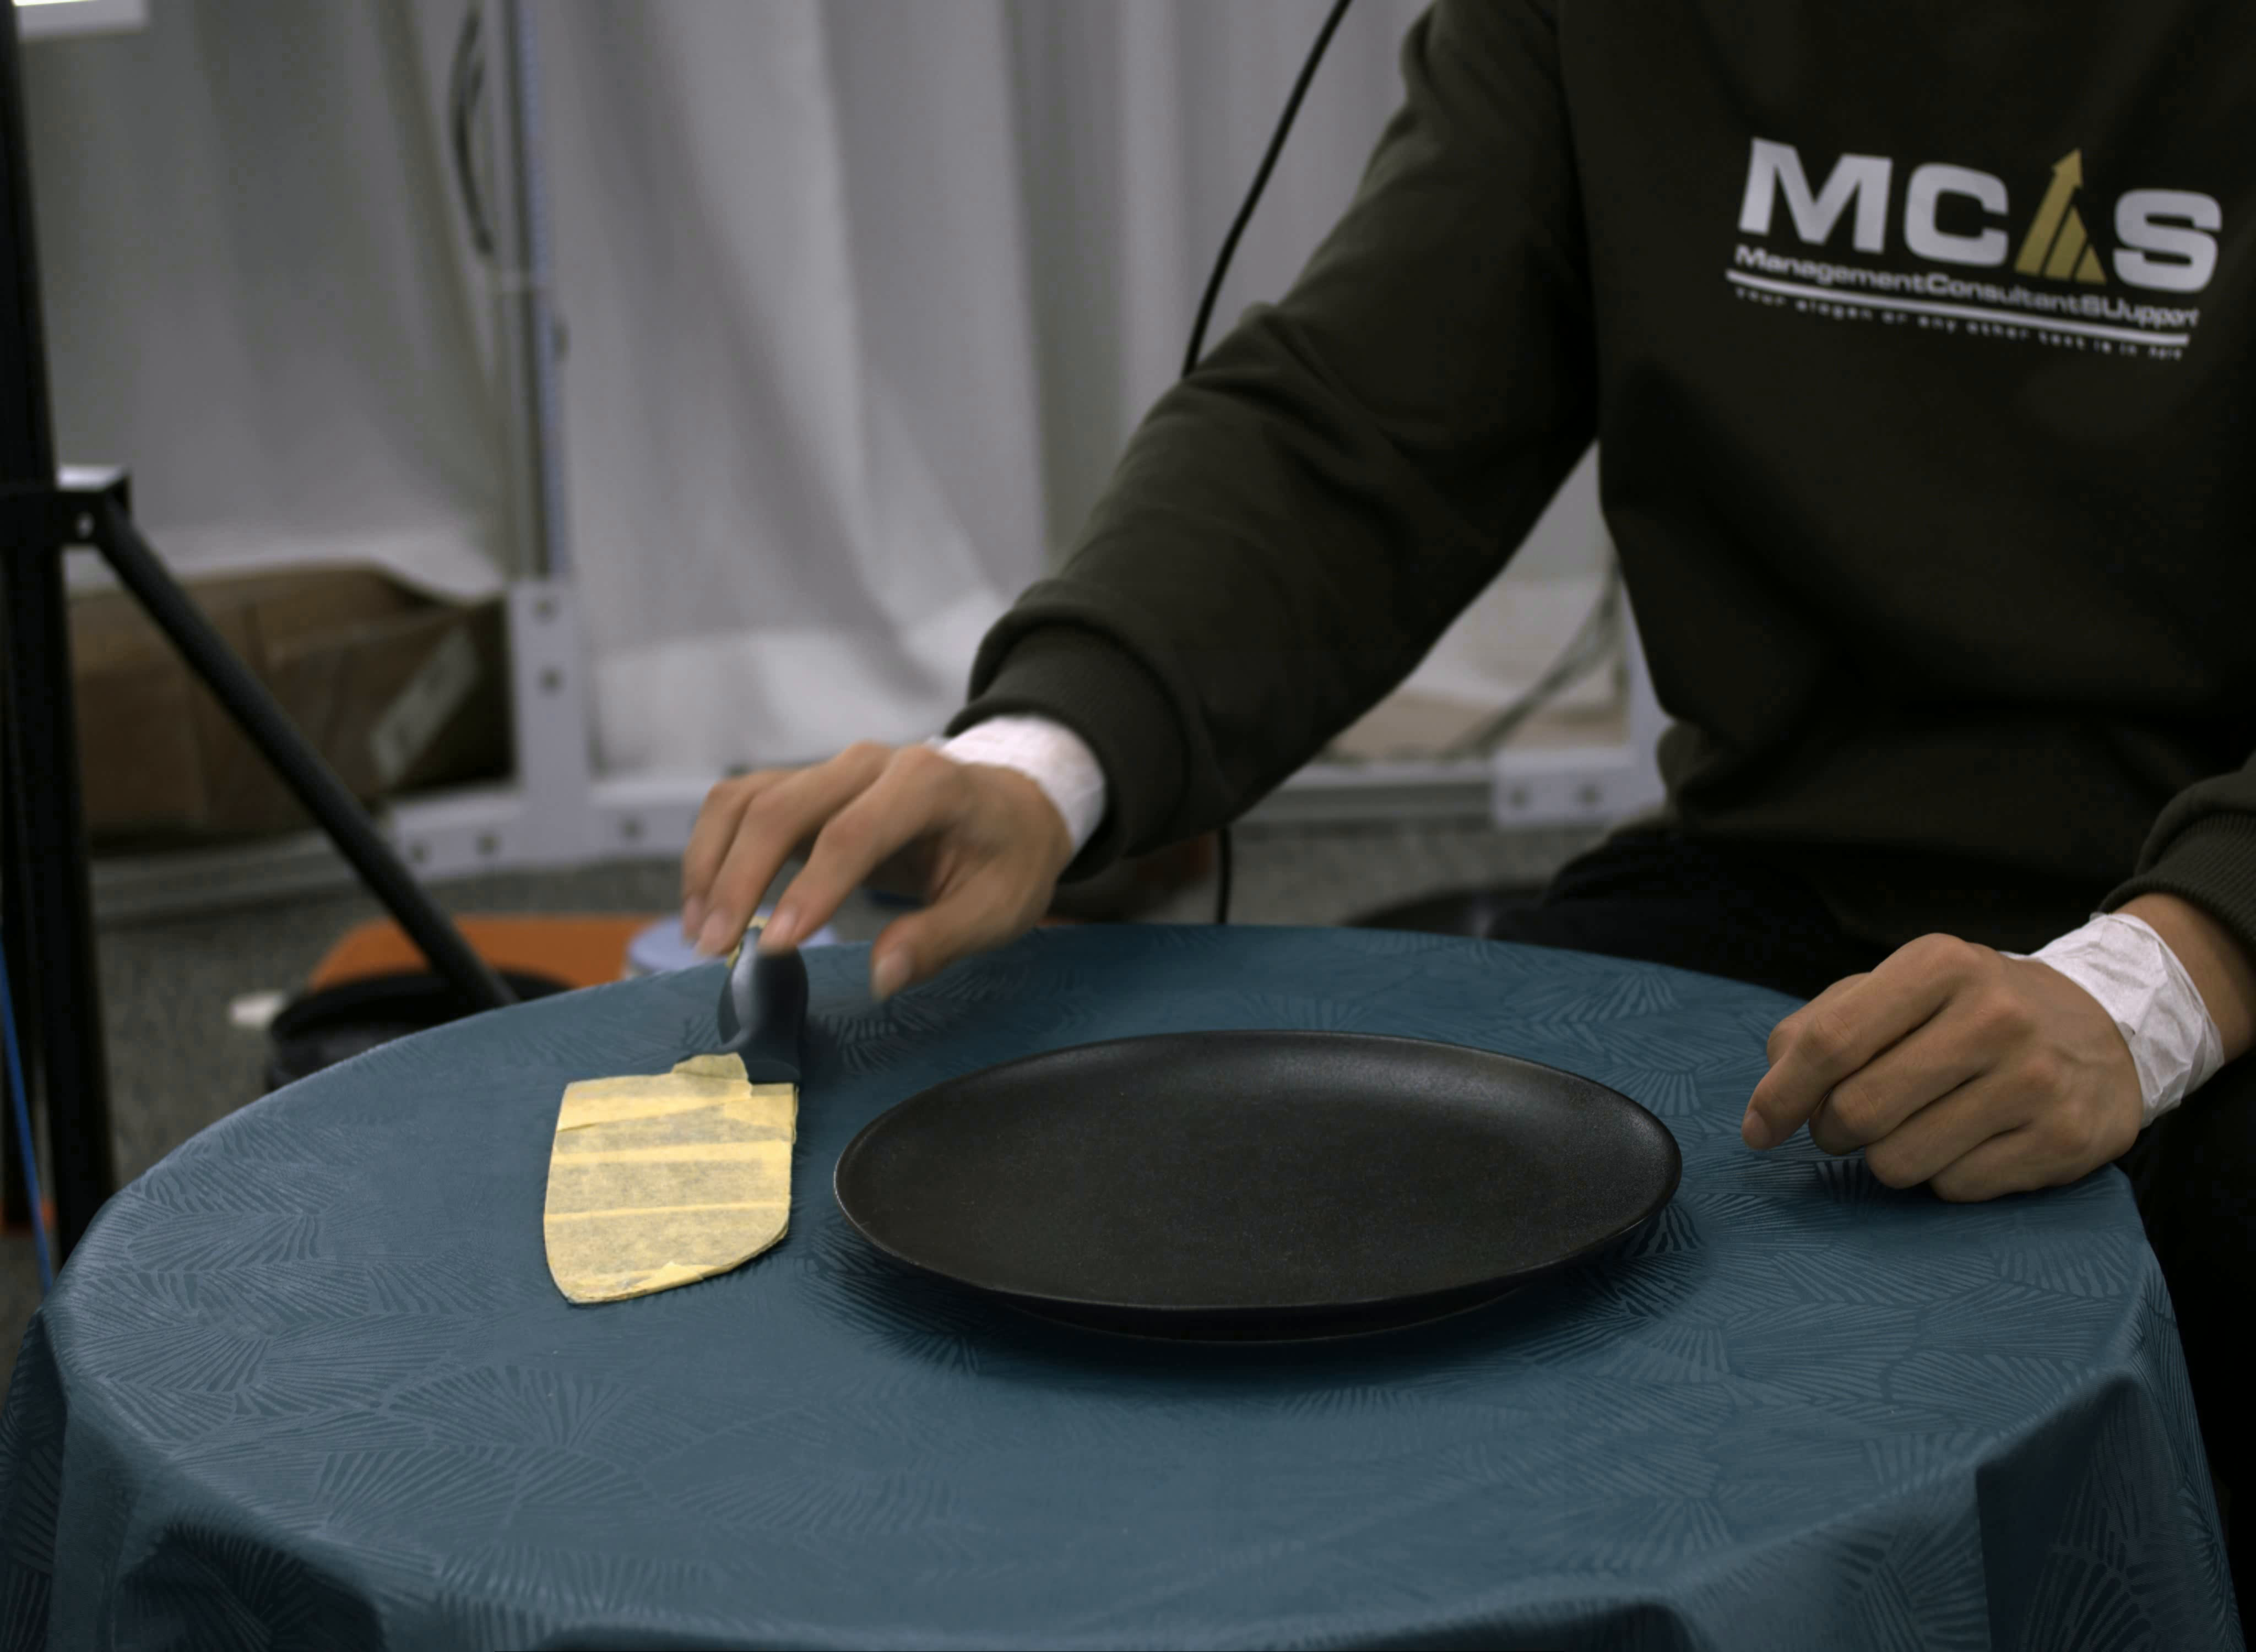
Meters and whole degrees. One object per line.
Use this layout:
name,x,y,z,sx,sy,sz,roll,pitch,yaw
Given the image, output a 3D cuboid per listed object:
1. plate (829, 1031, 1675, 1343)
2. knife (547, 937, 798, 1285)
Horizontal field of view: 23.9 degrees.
plate,0.036,0.106,1.522,0.243,0.023,0.245,-3,16,-1
knife,-0.136,0.087,1.630,0.081,0.027,0.290,0,17,1
